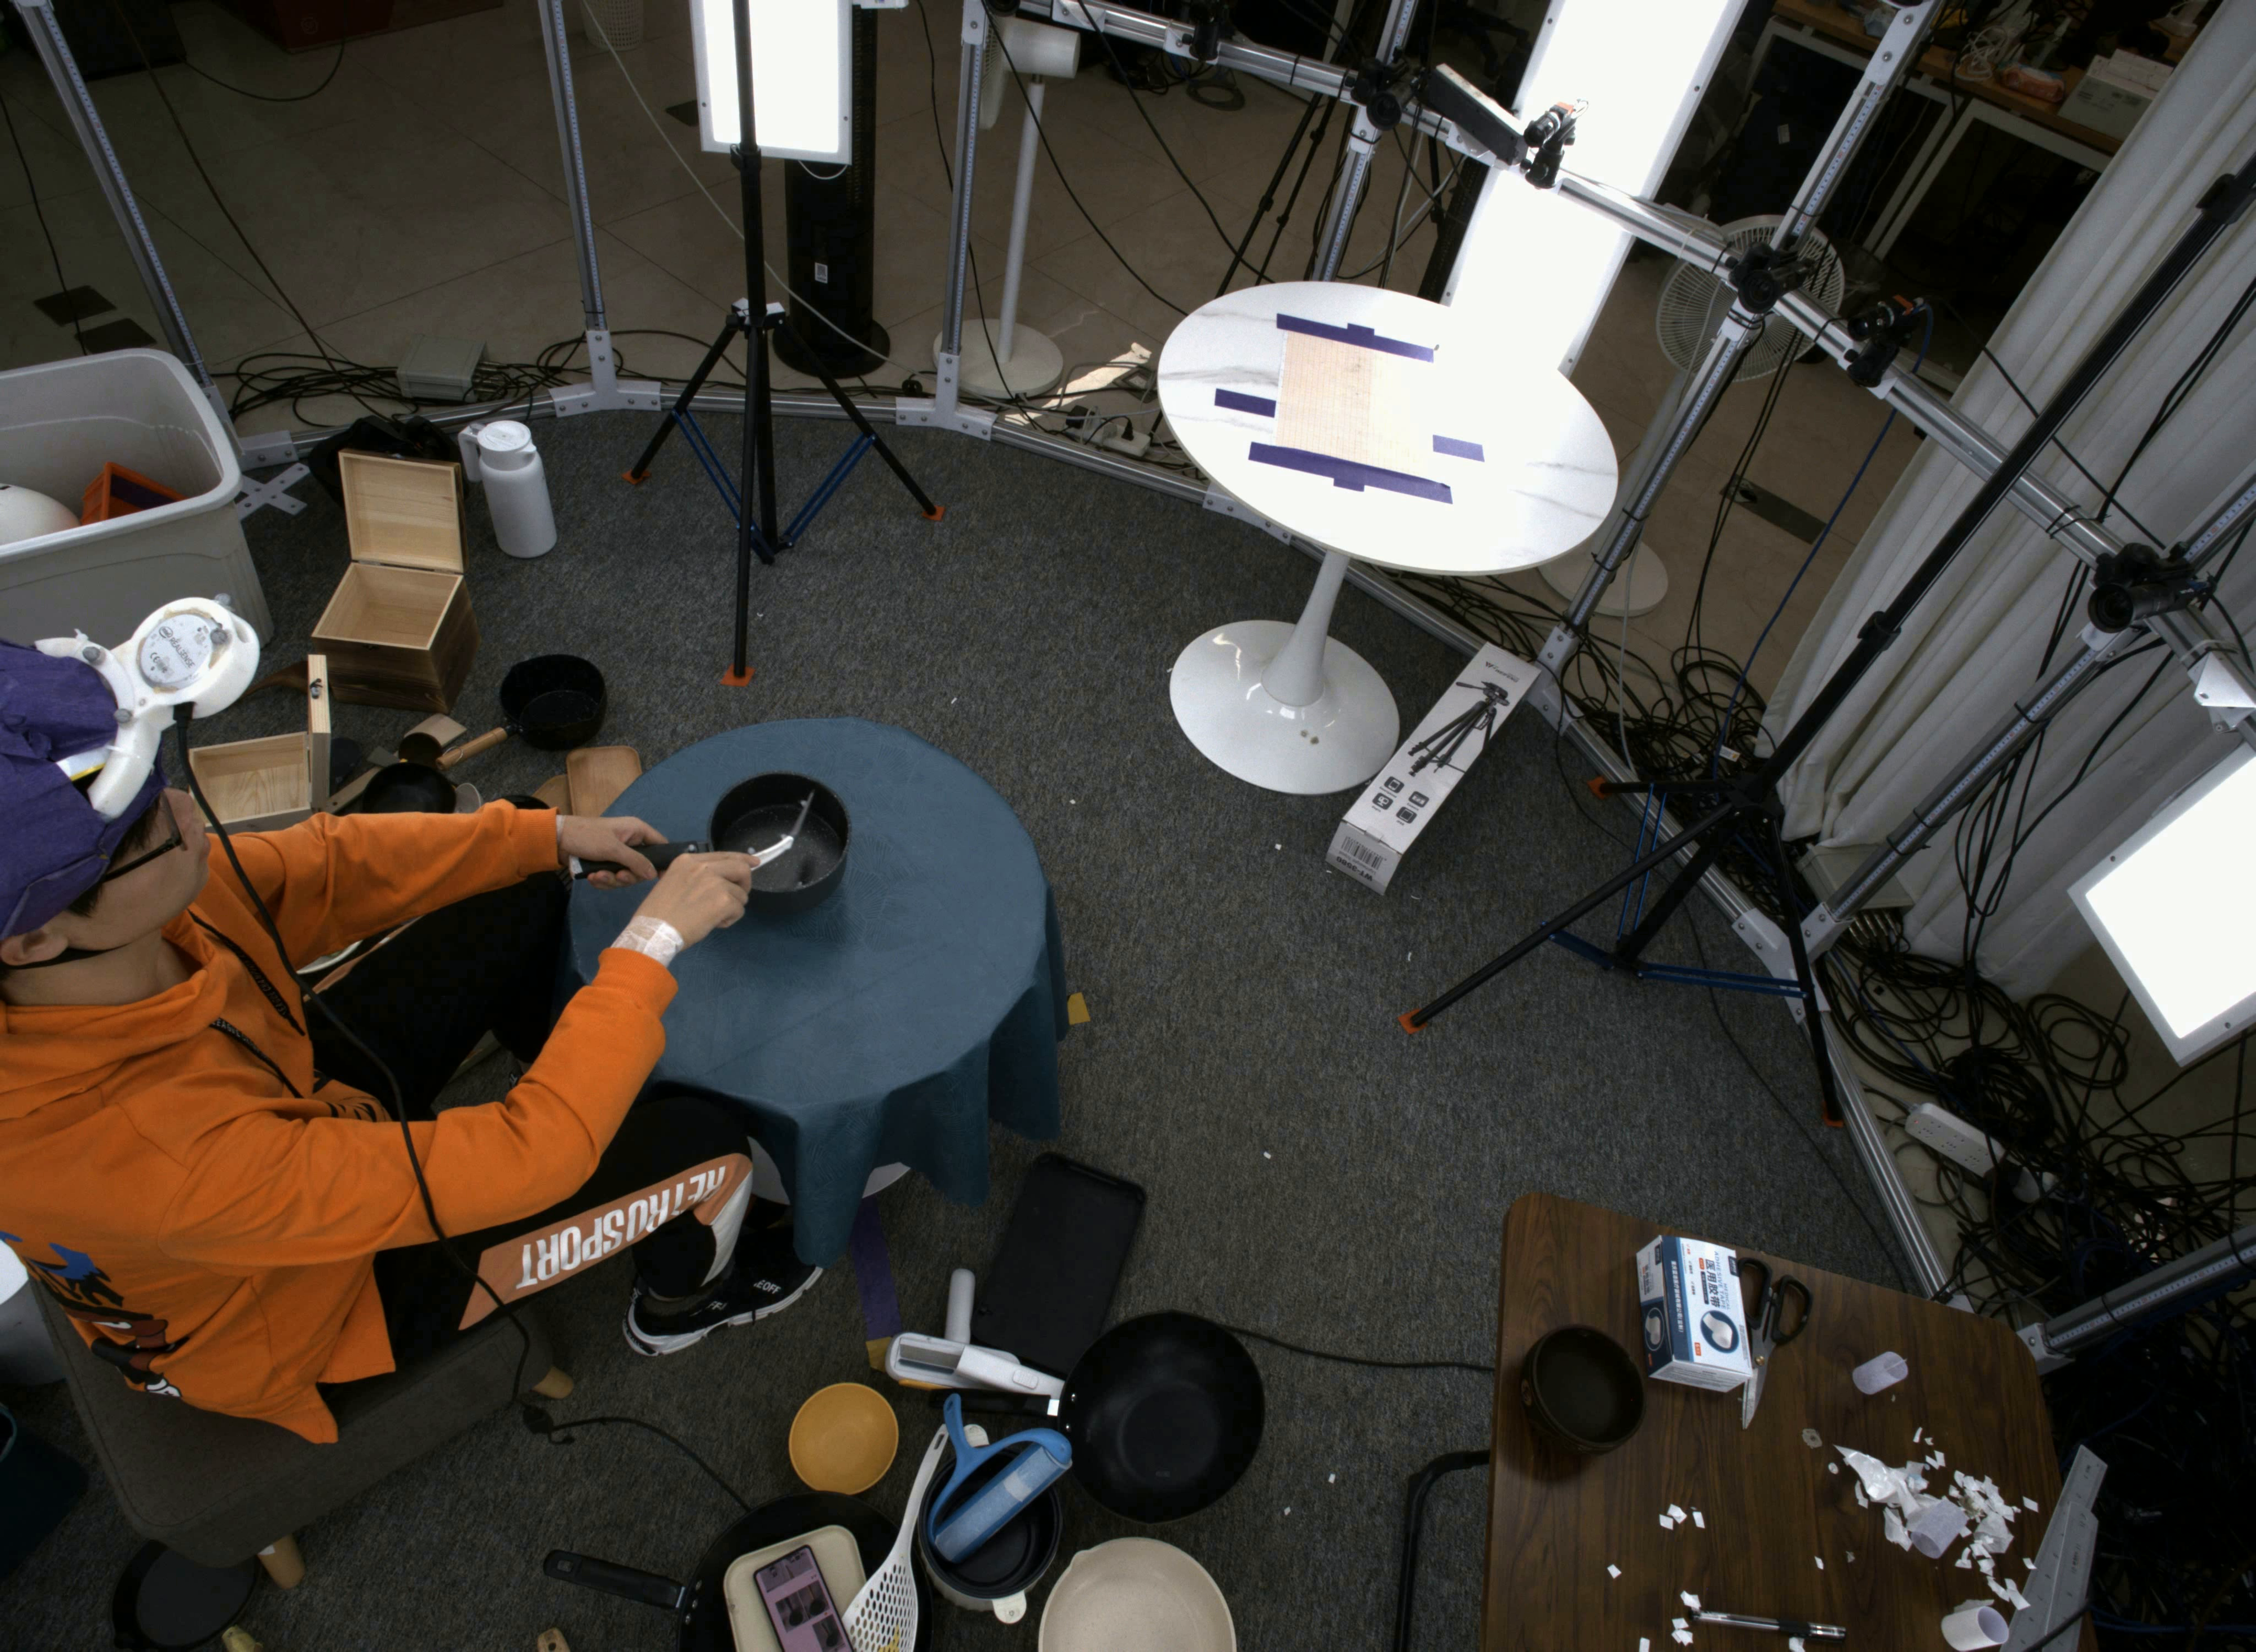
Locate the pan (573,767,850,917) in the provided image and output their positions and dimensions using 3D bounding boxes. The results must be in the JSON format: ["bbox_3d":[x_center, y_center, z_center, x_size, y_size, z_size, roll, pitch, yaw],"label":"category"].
[{"bbox_3d":[-0.500,0.031,1.550,0.330,0.087,0.169,-8,62,-22],"label":"pan"}]

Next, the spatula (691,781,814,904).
[{"bbox_3d":[-0.410,0.017,1.455,0.032,0.059,0.285,24,22,1],"label":"spatula"}]
